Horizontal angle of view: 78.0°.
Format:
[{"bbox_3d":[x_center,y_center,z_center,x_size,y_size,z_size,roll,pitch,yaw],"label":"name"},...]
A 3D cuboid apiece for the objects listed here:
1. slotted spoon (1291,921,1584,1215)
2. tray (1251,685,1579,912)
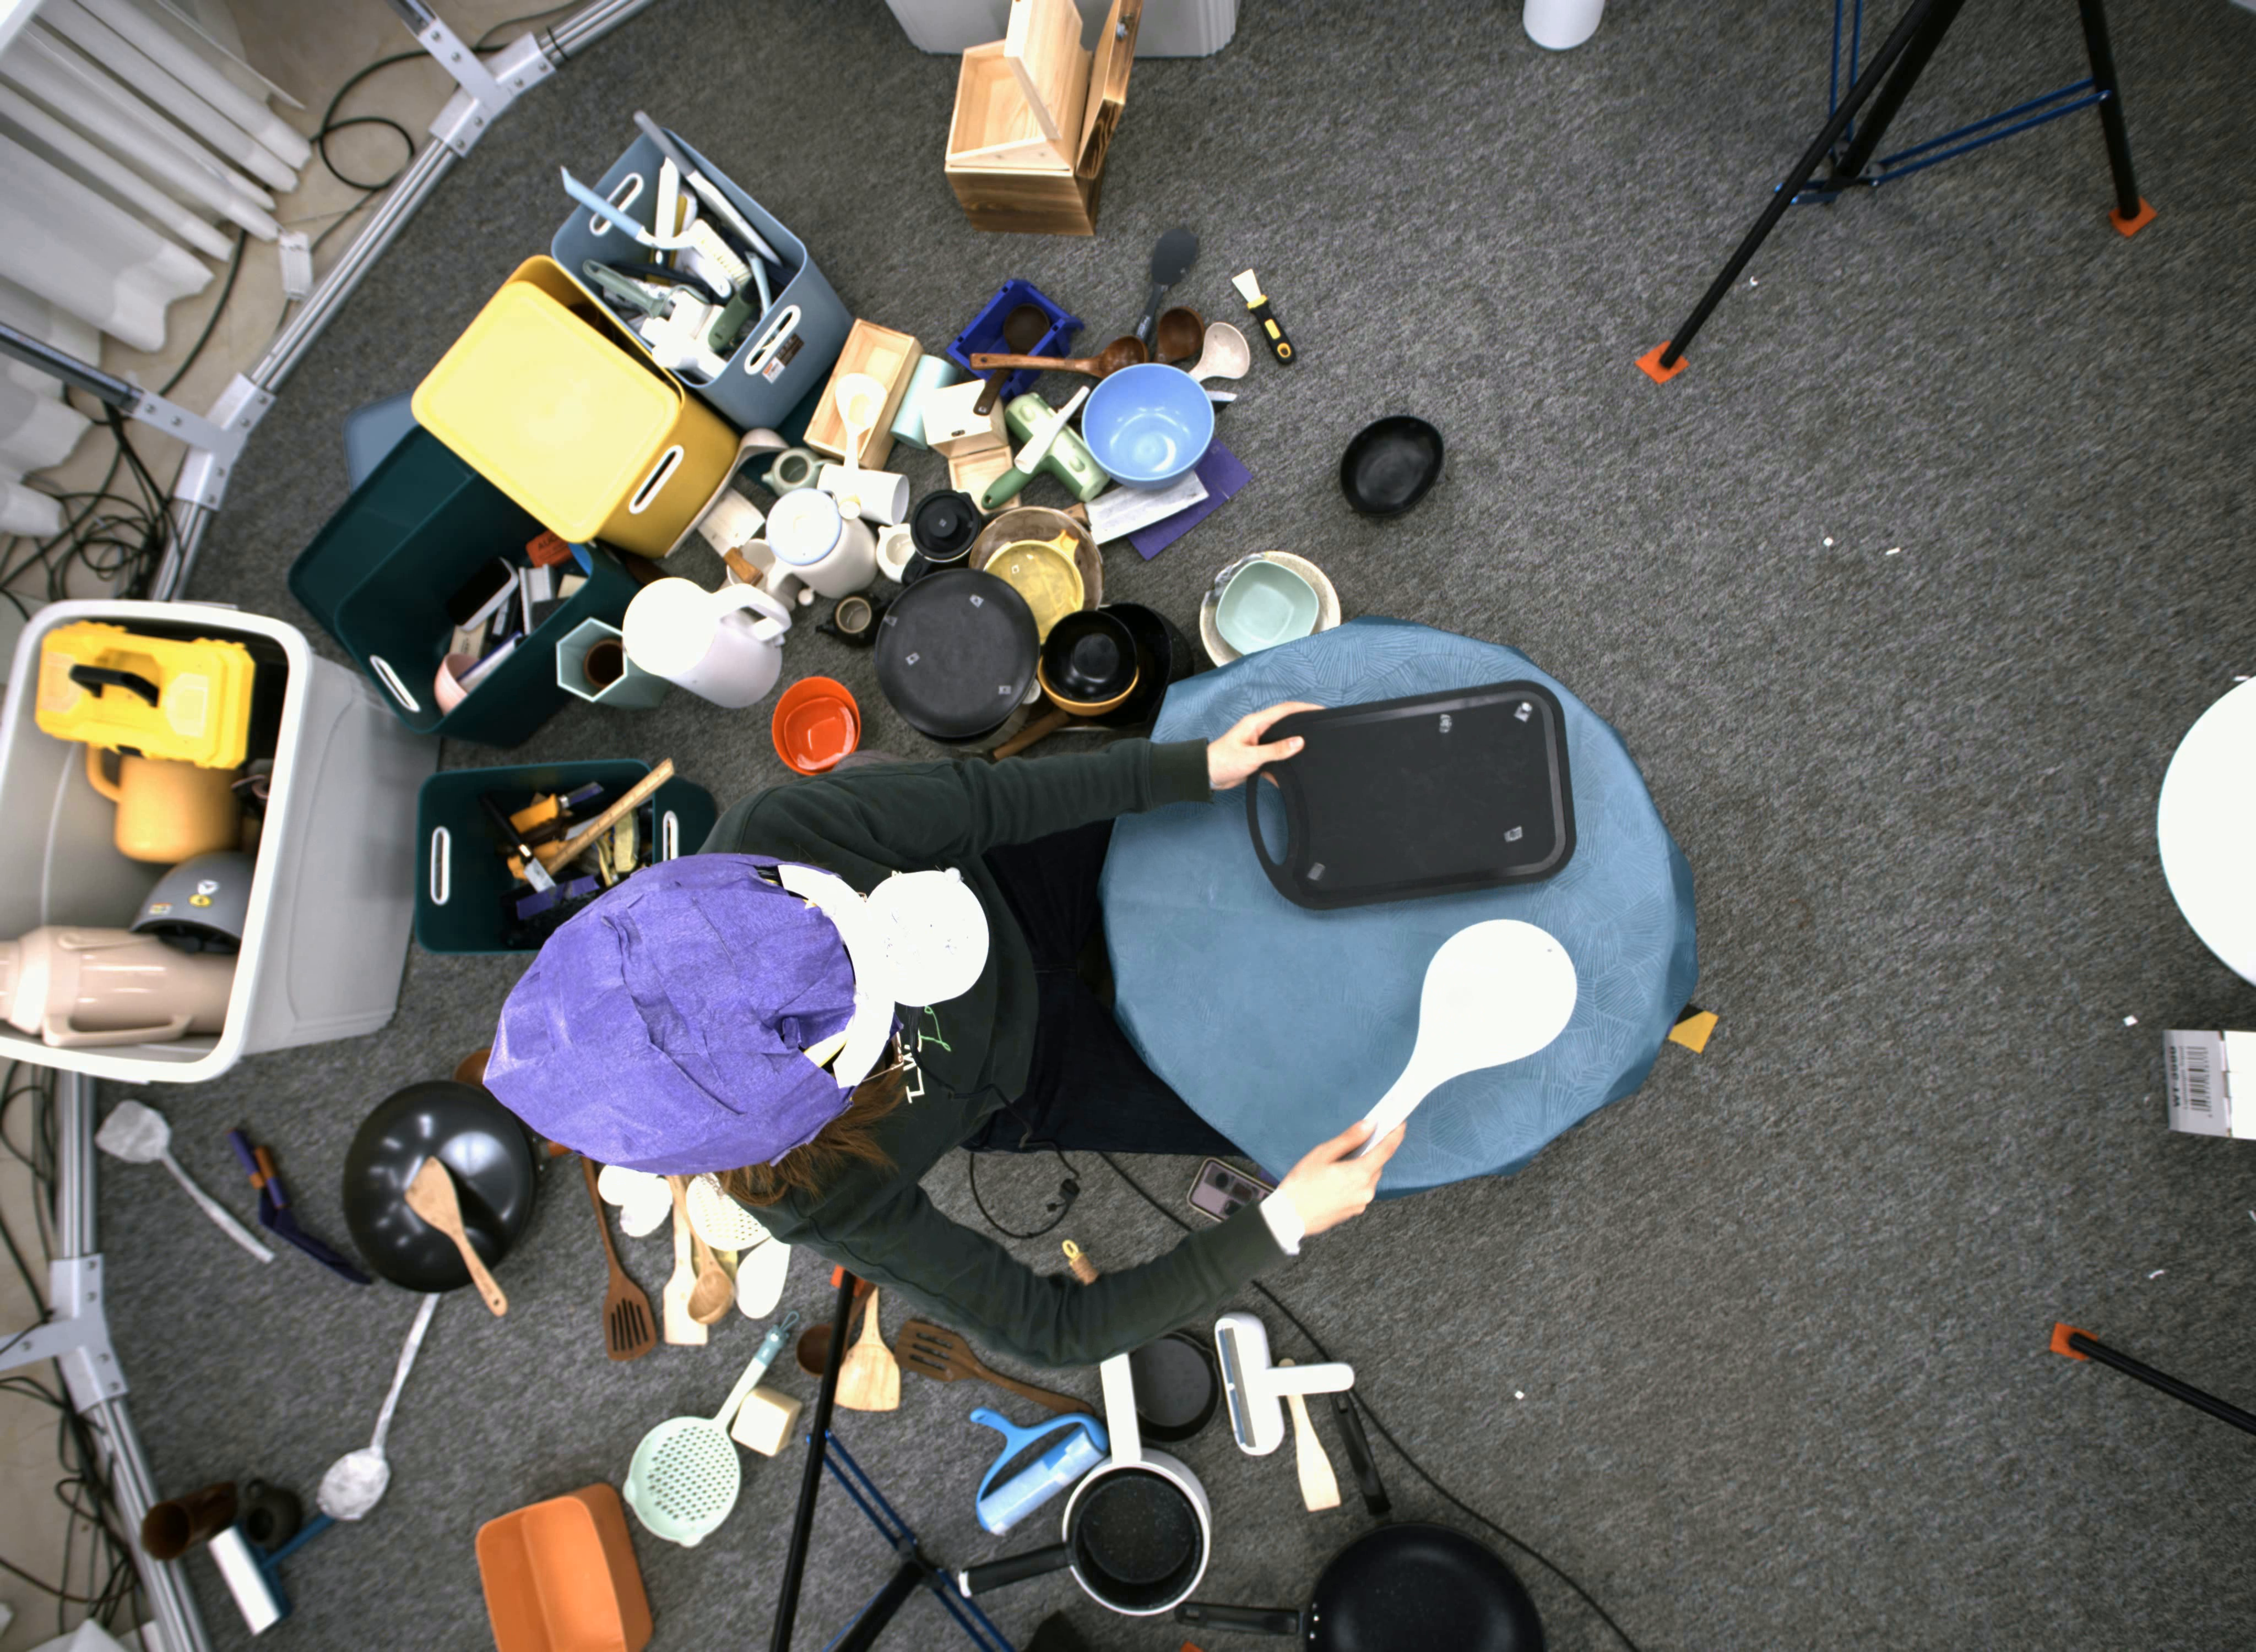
[{"bbox_3d":[0.283,0.231,1.296,0.349,0.046,0.134,-43,56,-3],"label":"slotted spoon"},{"bbox_3d":[0.288,-0.024,1.395,0.327,0.009,0.213,-8,106,8],"label":"tray"}]
